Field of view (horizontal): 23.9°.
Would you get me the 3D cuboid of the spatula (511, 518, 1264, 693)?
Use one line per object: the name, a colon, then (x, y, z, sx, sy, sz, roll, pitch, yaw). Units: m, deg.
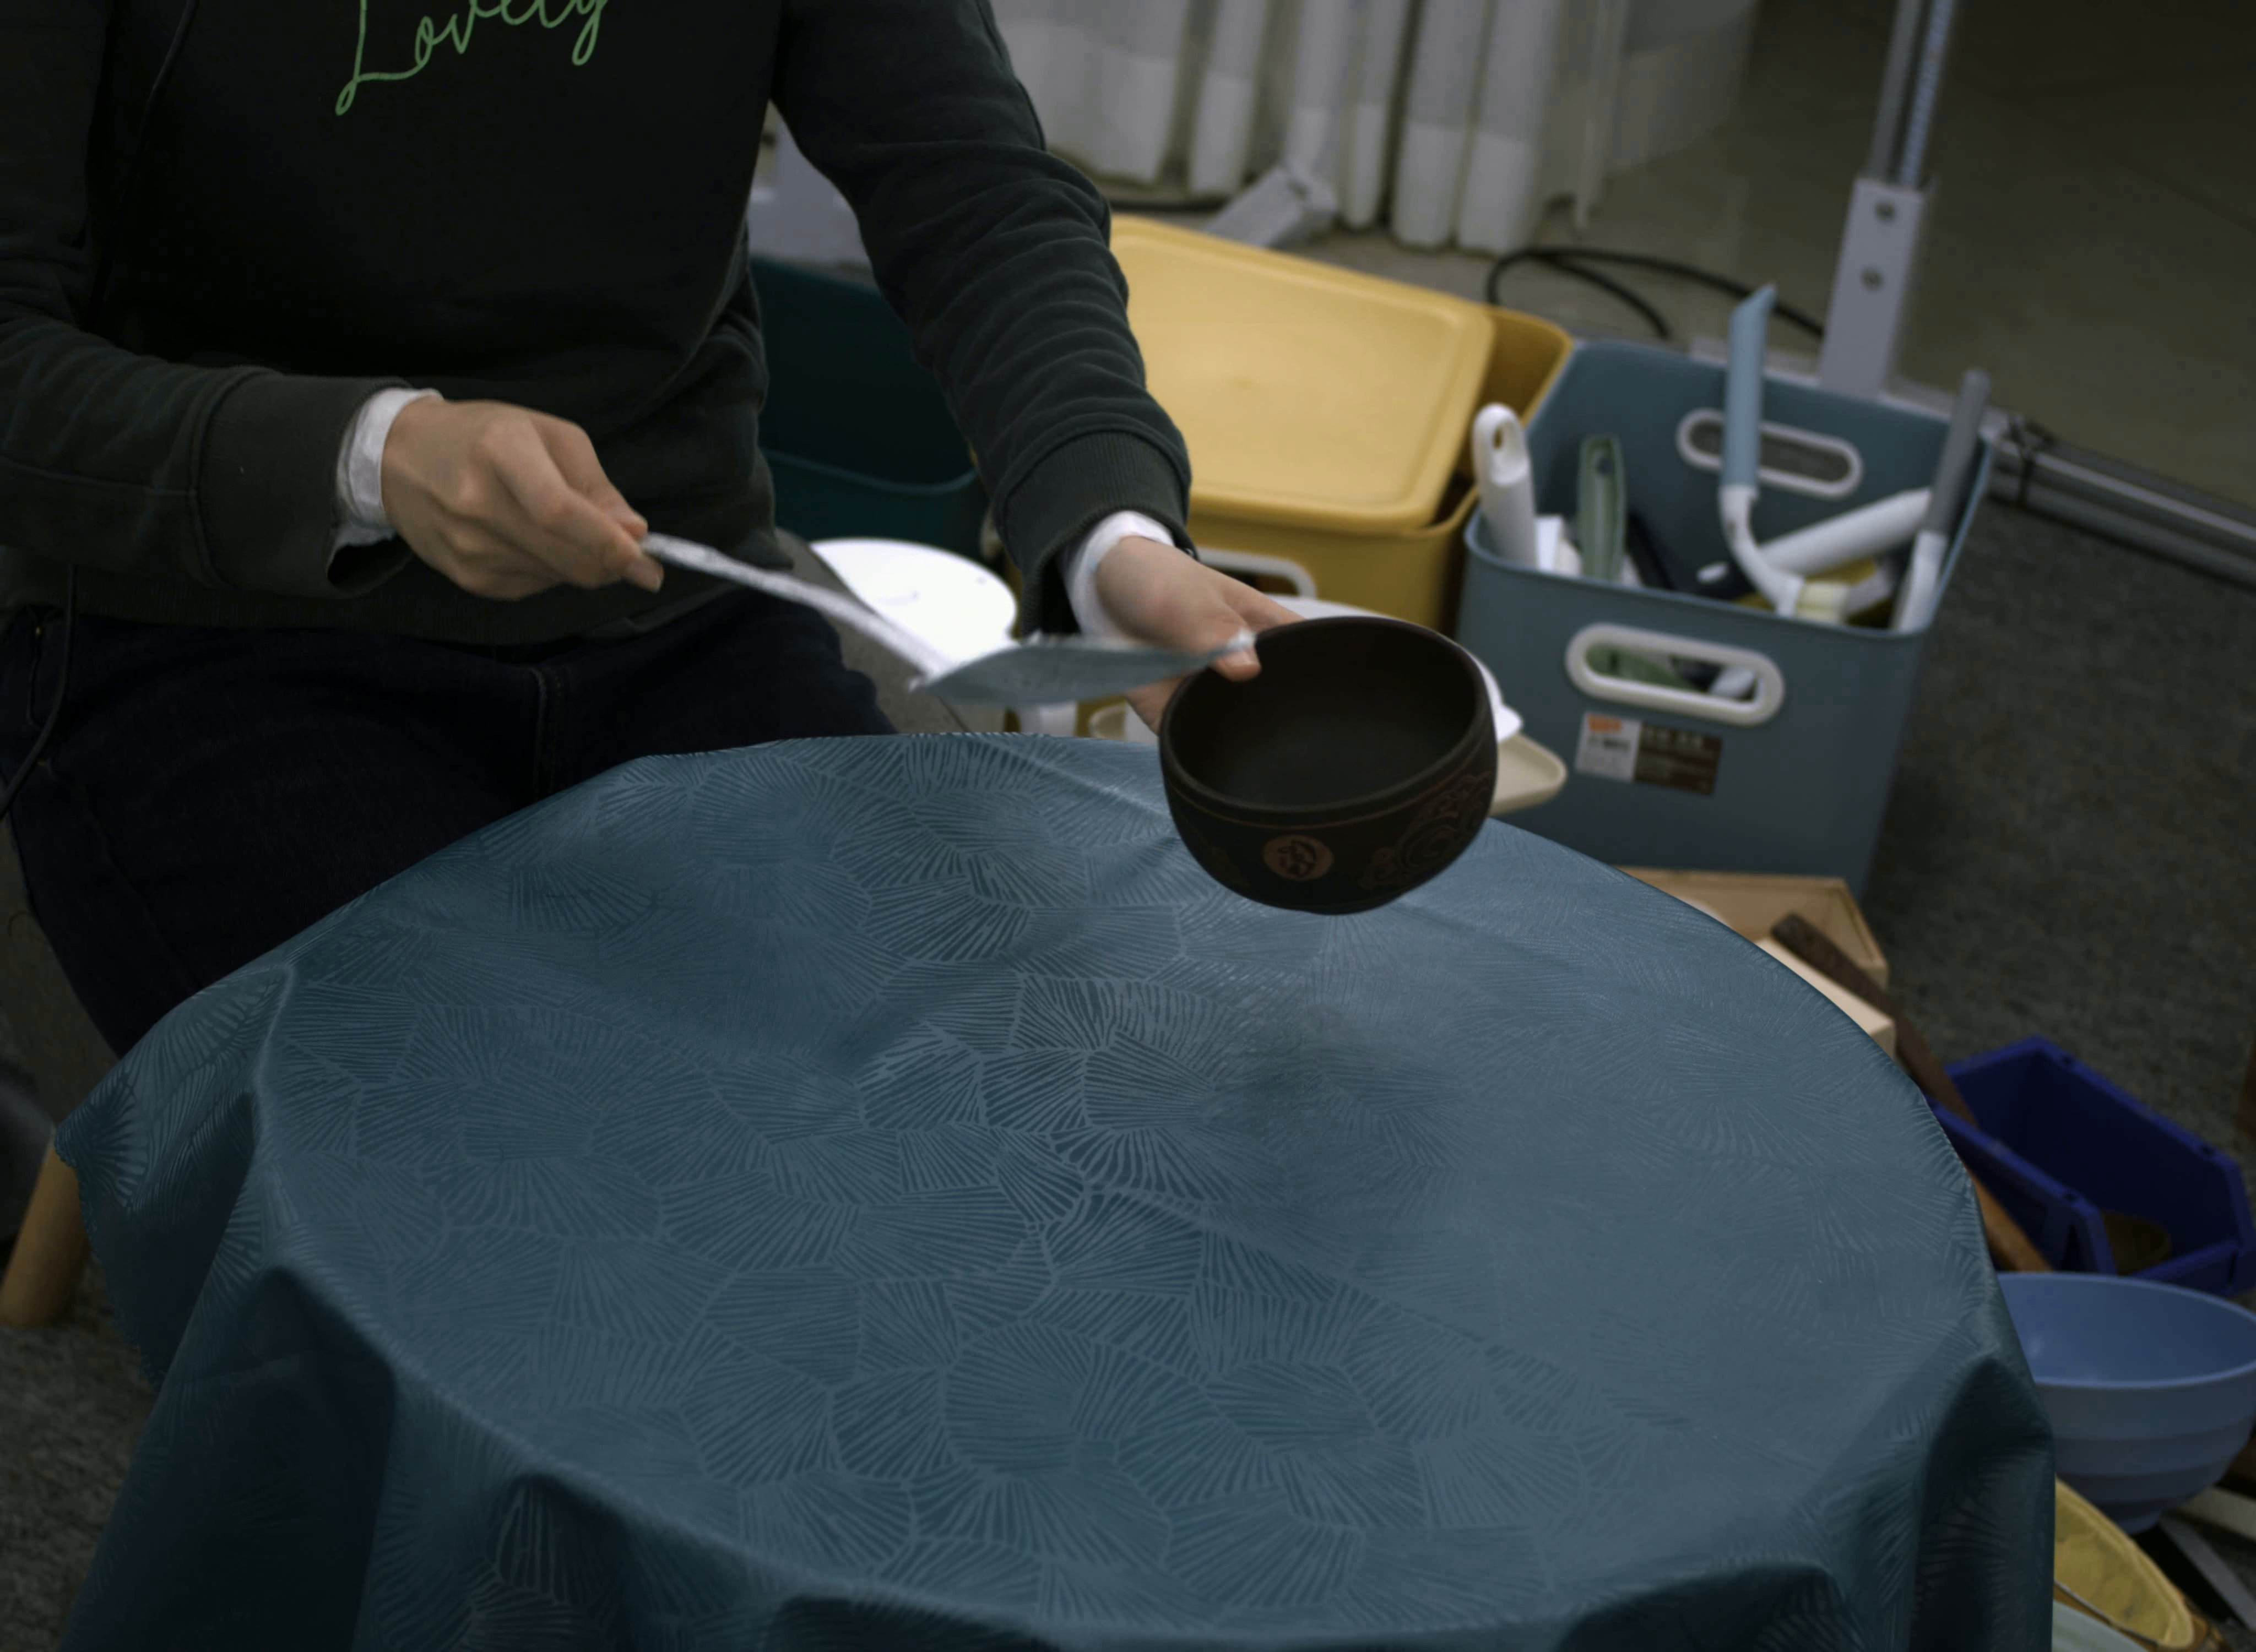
spatula: (-0.104, -0.085, 1.788, 0.098, 0.045, 0.367, -4, 16, -42)

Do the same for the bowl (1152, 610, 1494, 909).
bowl: (0.070, -0.015, 1.850, 0.118, 0.069, 0.119, -8, 34, 5)
